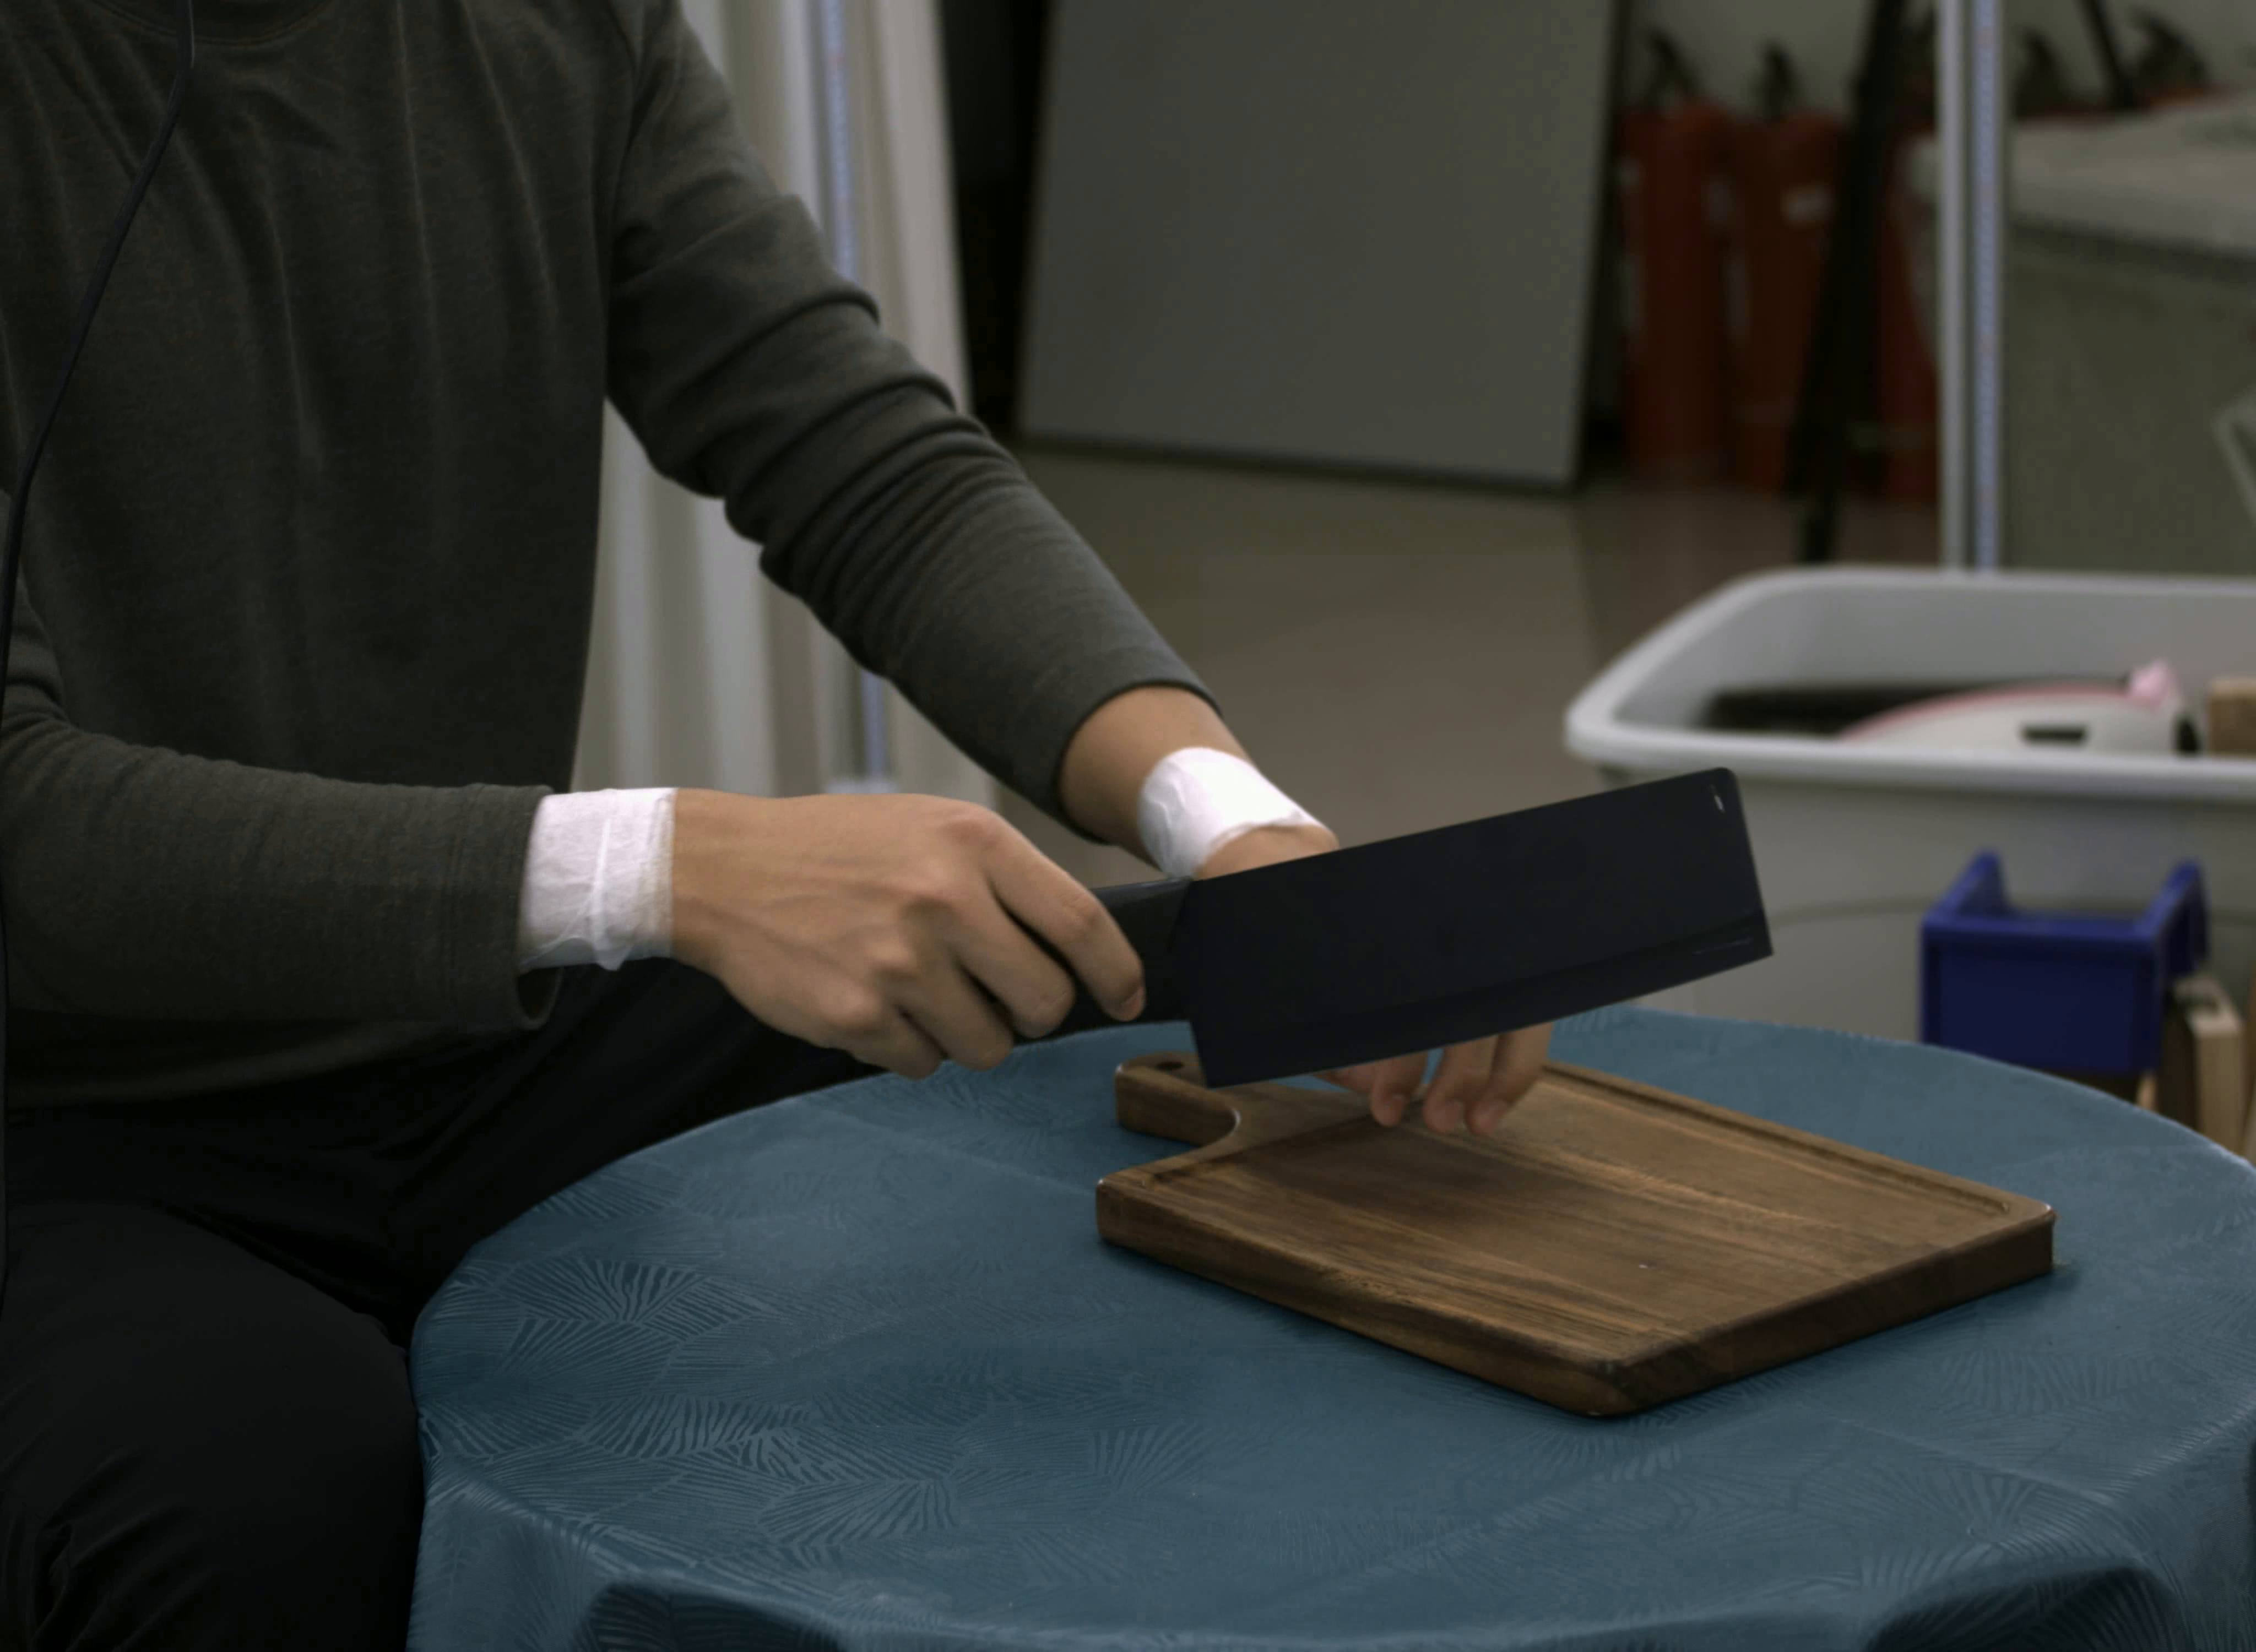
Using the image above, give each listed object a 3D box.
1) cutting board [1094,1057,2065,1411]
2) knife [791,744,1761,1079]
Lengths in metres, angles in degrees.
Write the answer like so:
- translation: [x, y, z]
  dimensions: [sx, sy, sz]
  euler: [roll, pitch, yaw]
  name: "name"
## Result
- translation: [0.108, 0.116, 1.720]
  dimensions: [0.196, 0.023, 0.356]
  euler: [-13, 16, -35]
  name: "cutting board"
- translation: [0.041, 0.037, 1.635]
  dimensions: [0.300, 0.082, 0.021]
  euler: [-9, 3, 10]
  name: "knife"
